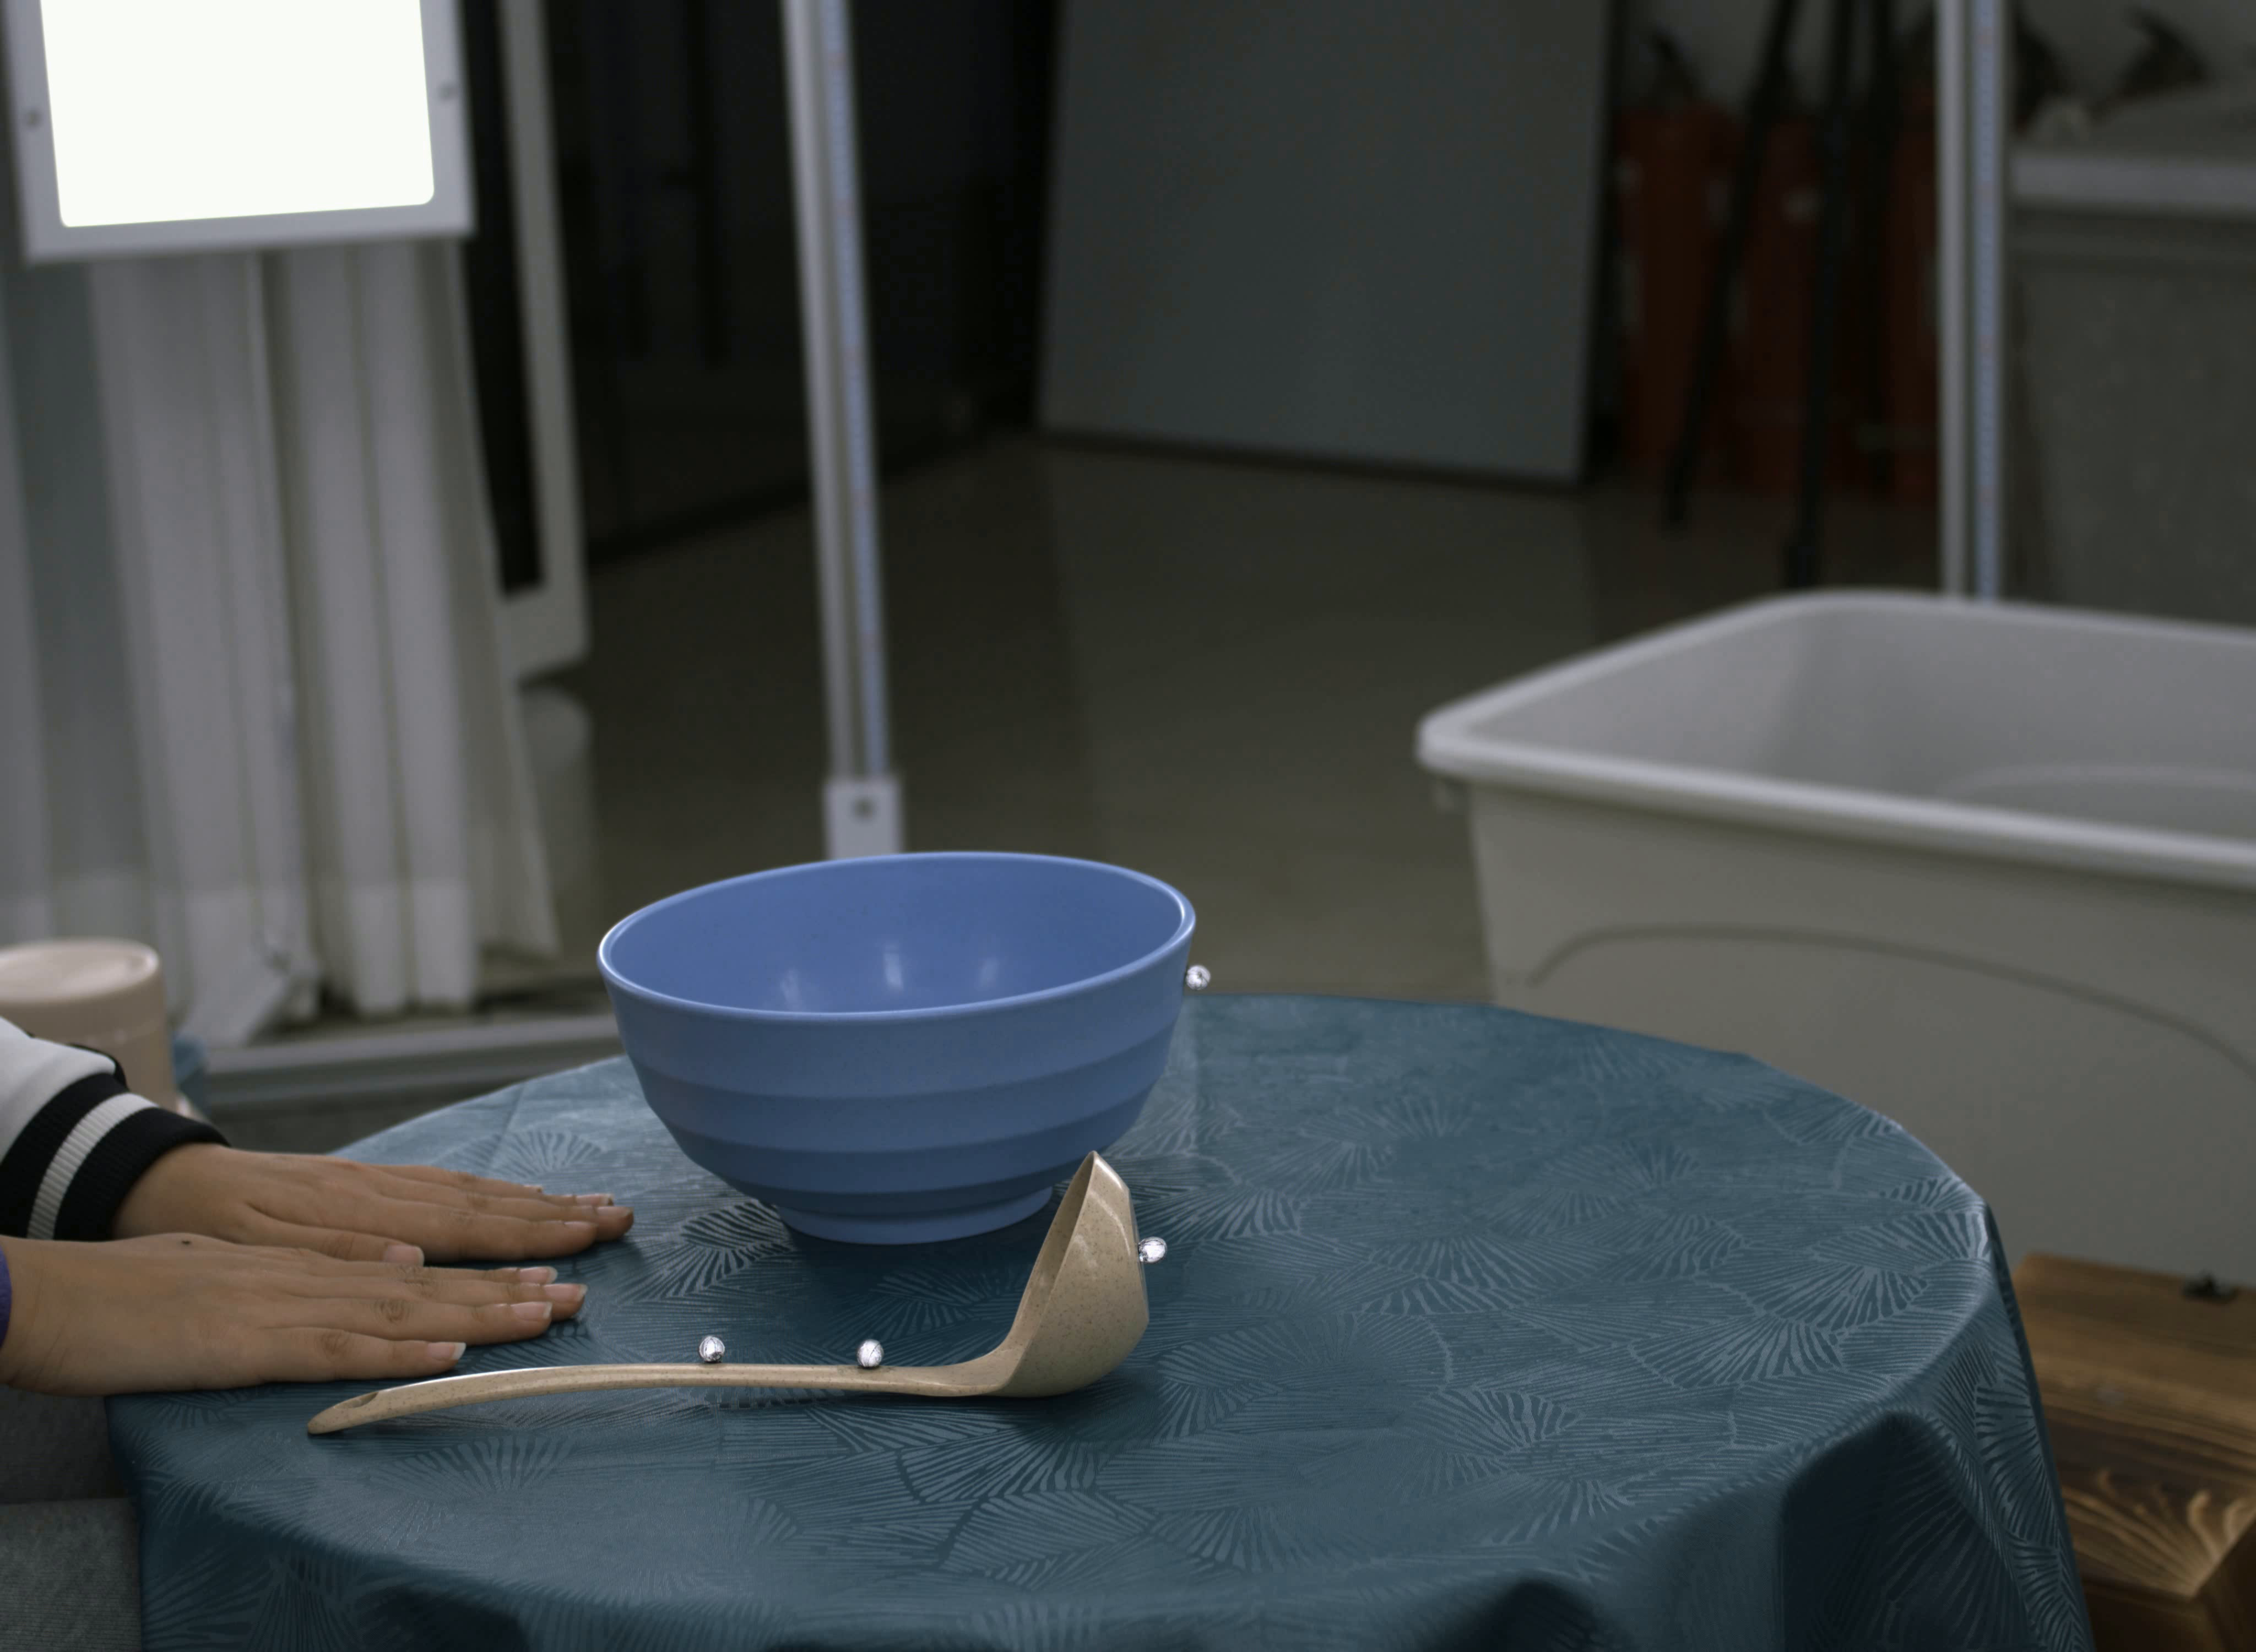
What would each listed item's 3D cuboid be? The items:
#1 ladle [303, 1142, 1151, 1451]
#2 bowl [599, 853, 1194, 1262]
[{"bbox_3d":[-0.119,0.138,1.585,0.251,0.073,0.072,-4,12,1],"label":"ladle"},{"bbox_3d":[-0.072,0.082,1.765,0.194,0.096,0.197,-5,15,0],"label":"bowl"}]
